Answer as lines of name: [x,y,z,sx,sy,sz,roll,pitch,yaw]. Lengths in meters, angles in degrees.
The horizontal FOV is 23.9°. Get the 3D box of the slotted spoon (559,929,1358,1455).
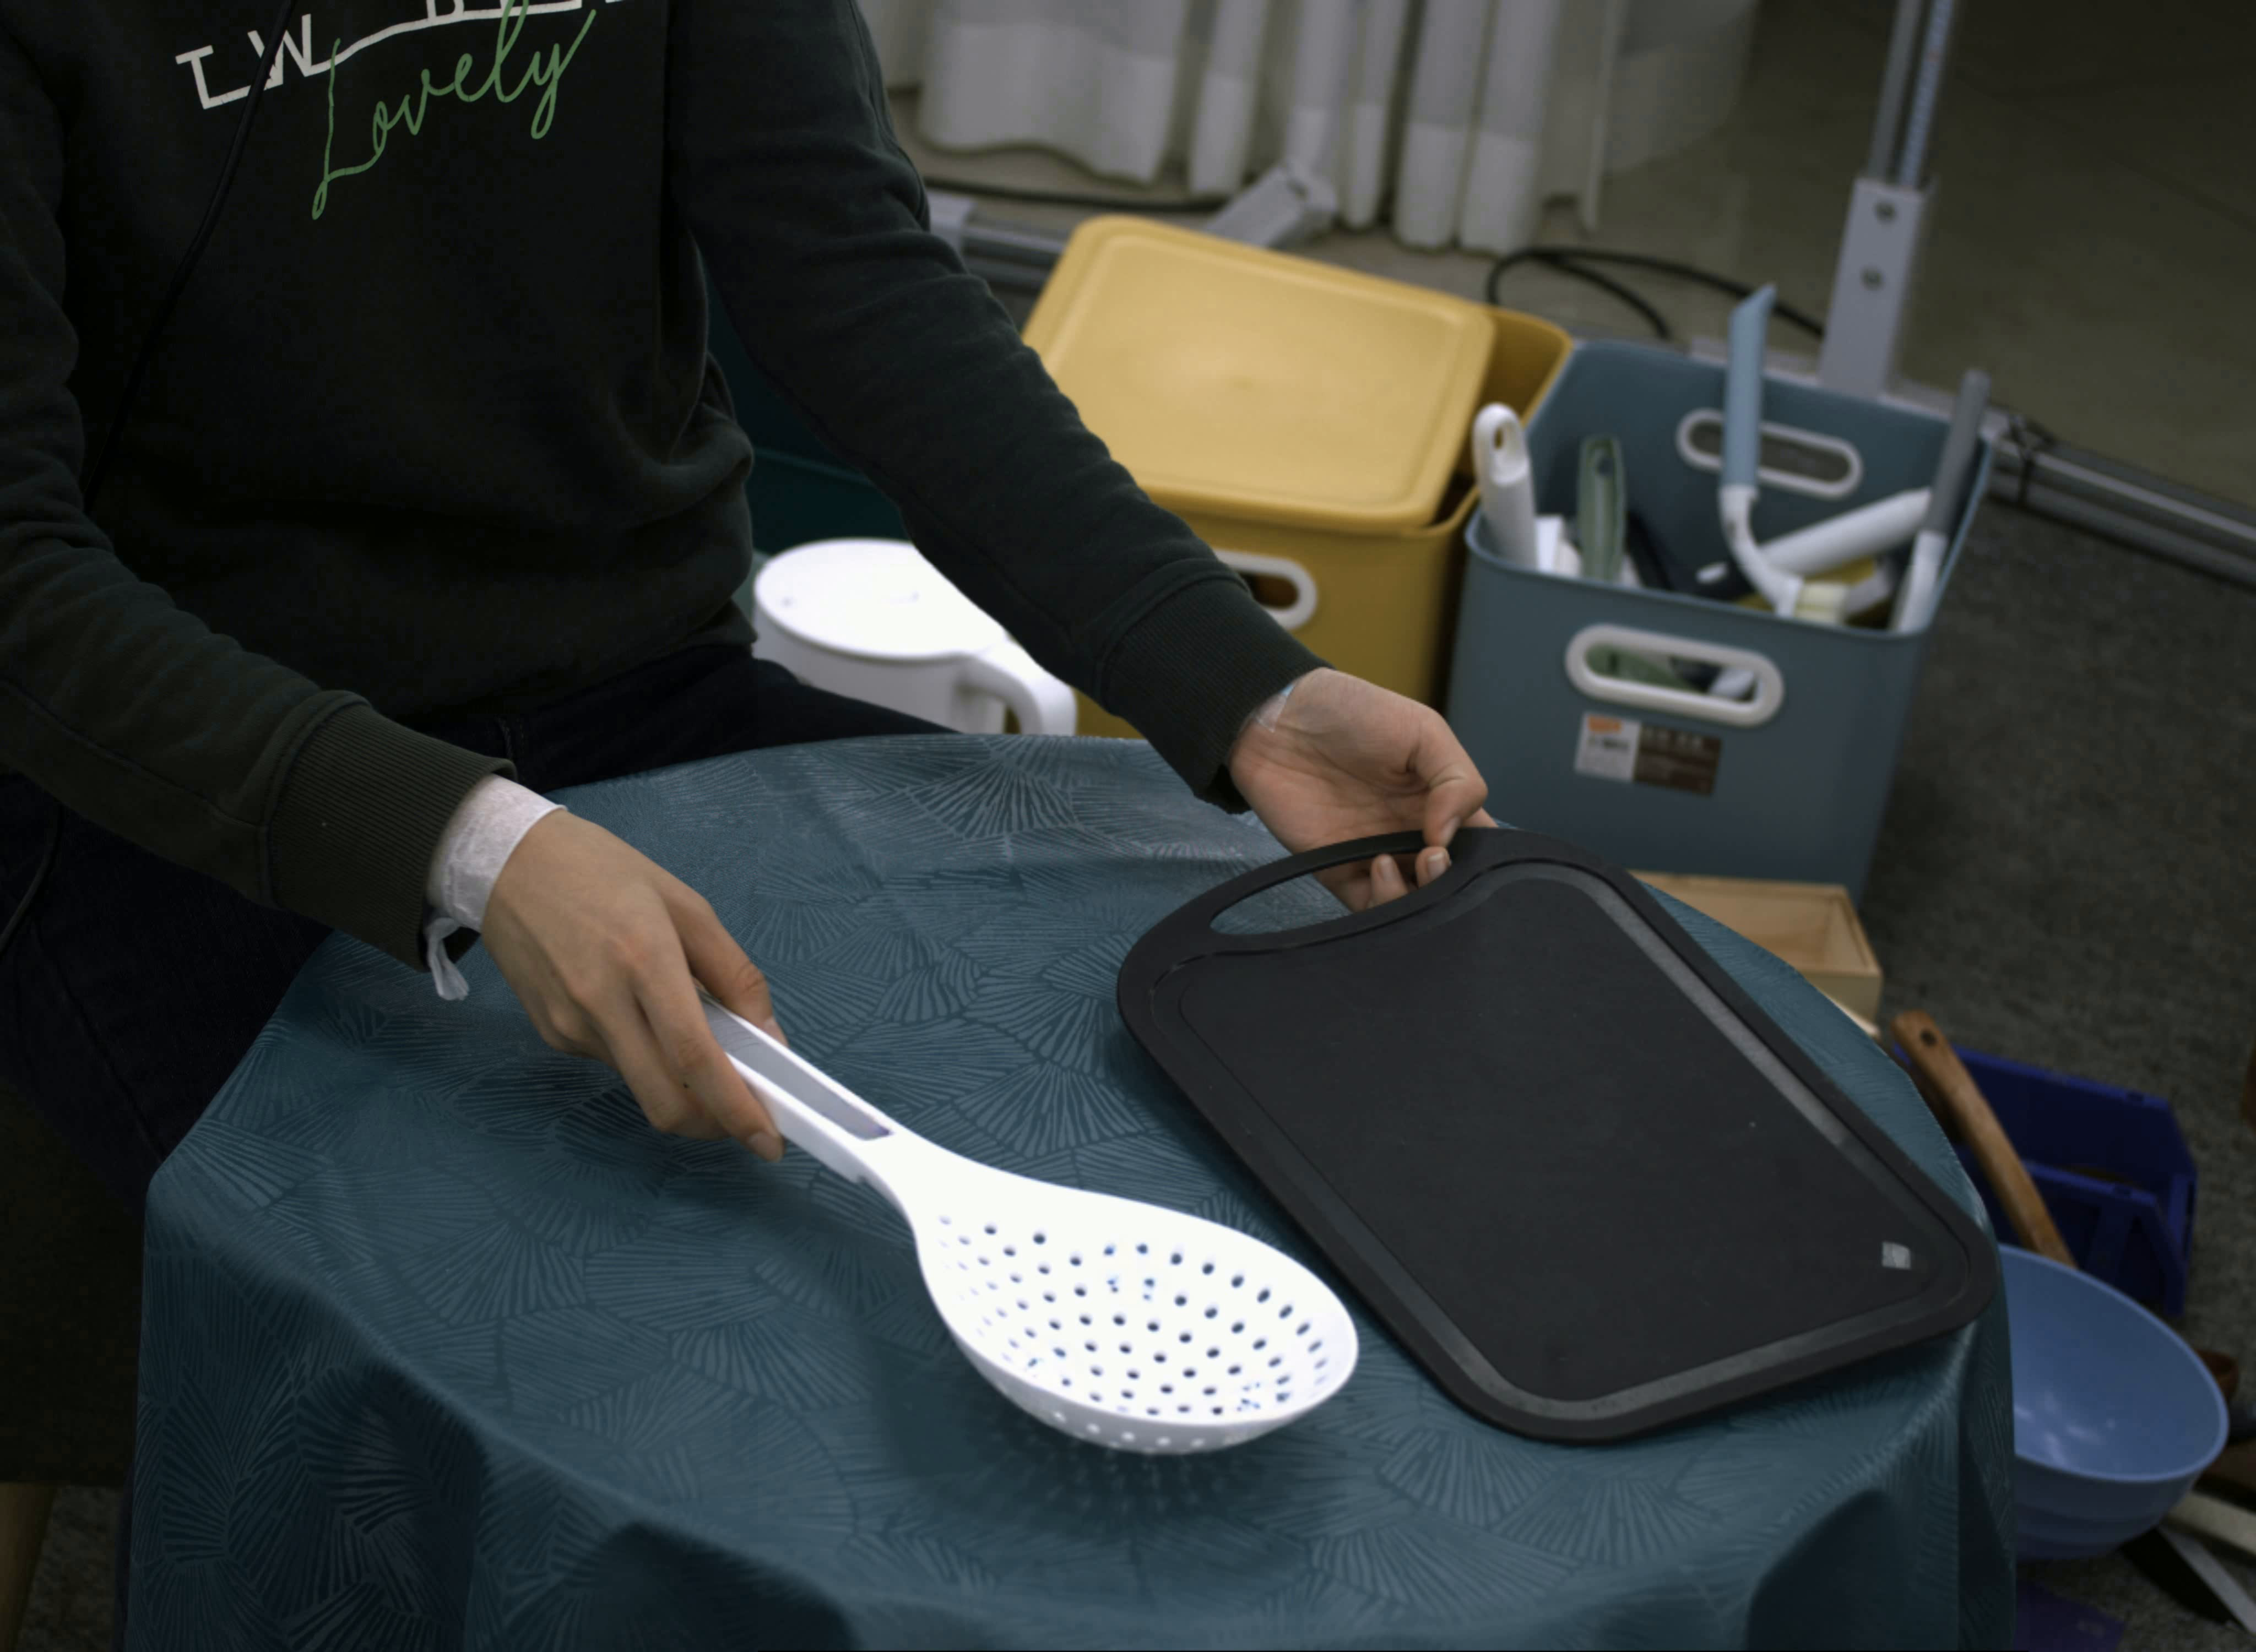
slotted spoon: [-0.070,0.114,1.728,0.135,0.045,0.352,-11,36,-44]

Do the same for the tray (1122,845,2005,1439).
tray: [0.140,0.097,1.831,0.210,0.010,0.328,-14,37,-24]
